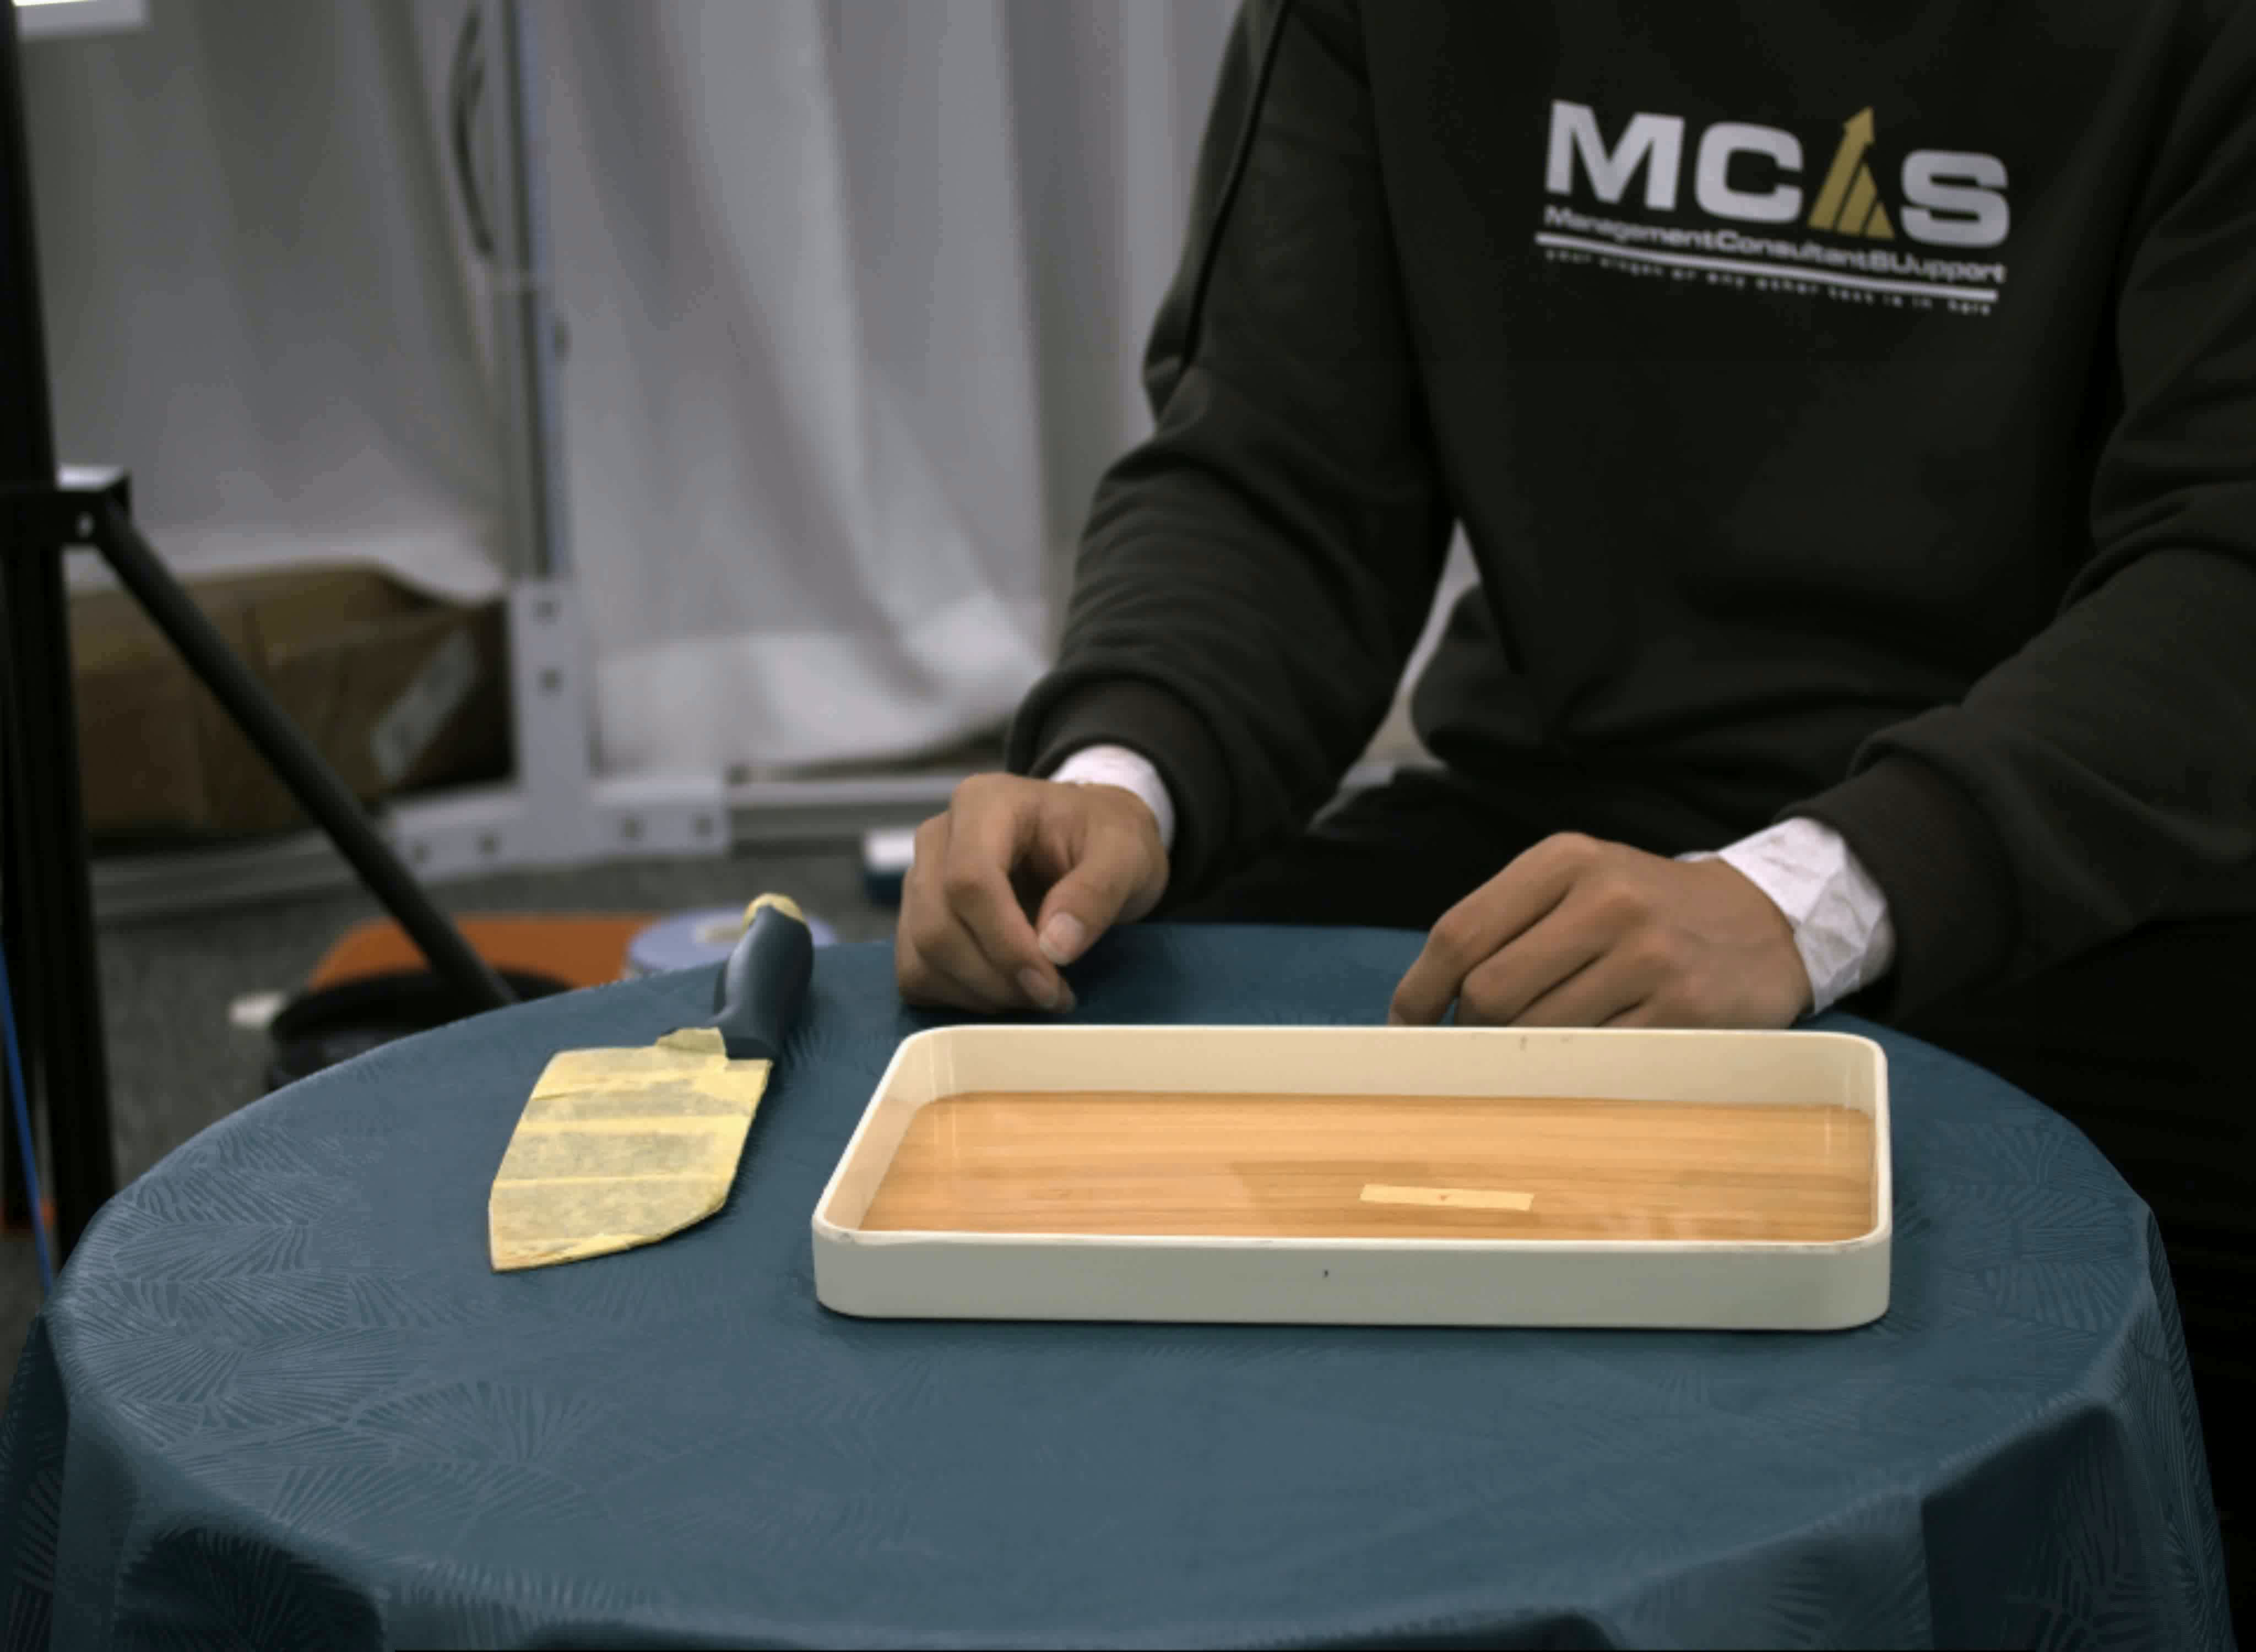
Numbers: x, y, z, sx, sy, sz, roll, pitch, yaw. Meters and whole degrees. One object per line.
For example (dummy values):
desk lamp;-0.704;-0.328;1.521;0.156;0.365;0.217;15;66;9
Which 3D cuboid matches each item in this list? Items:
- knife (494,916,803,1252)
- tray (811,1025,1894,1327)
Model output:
knife;-0.146;0.080;1.657;0.081;0.027;0.289;1;17;7
tray;0.069;0.100;1.532;0.301;0.027;0.191;0;15;9
